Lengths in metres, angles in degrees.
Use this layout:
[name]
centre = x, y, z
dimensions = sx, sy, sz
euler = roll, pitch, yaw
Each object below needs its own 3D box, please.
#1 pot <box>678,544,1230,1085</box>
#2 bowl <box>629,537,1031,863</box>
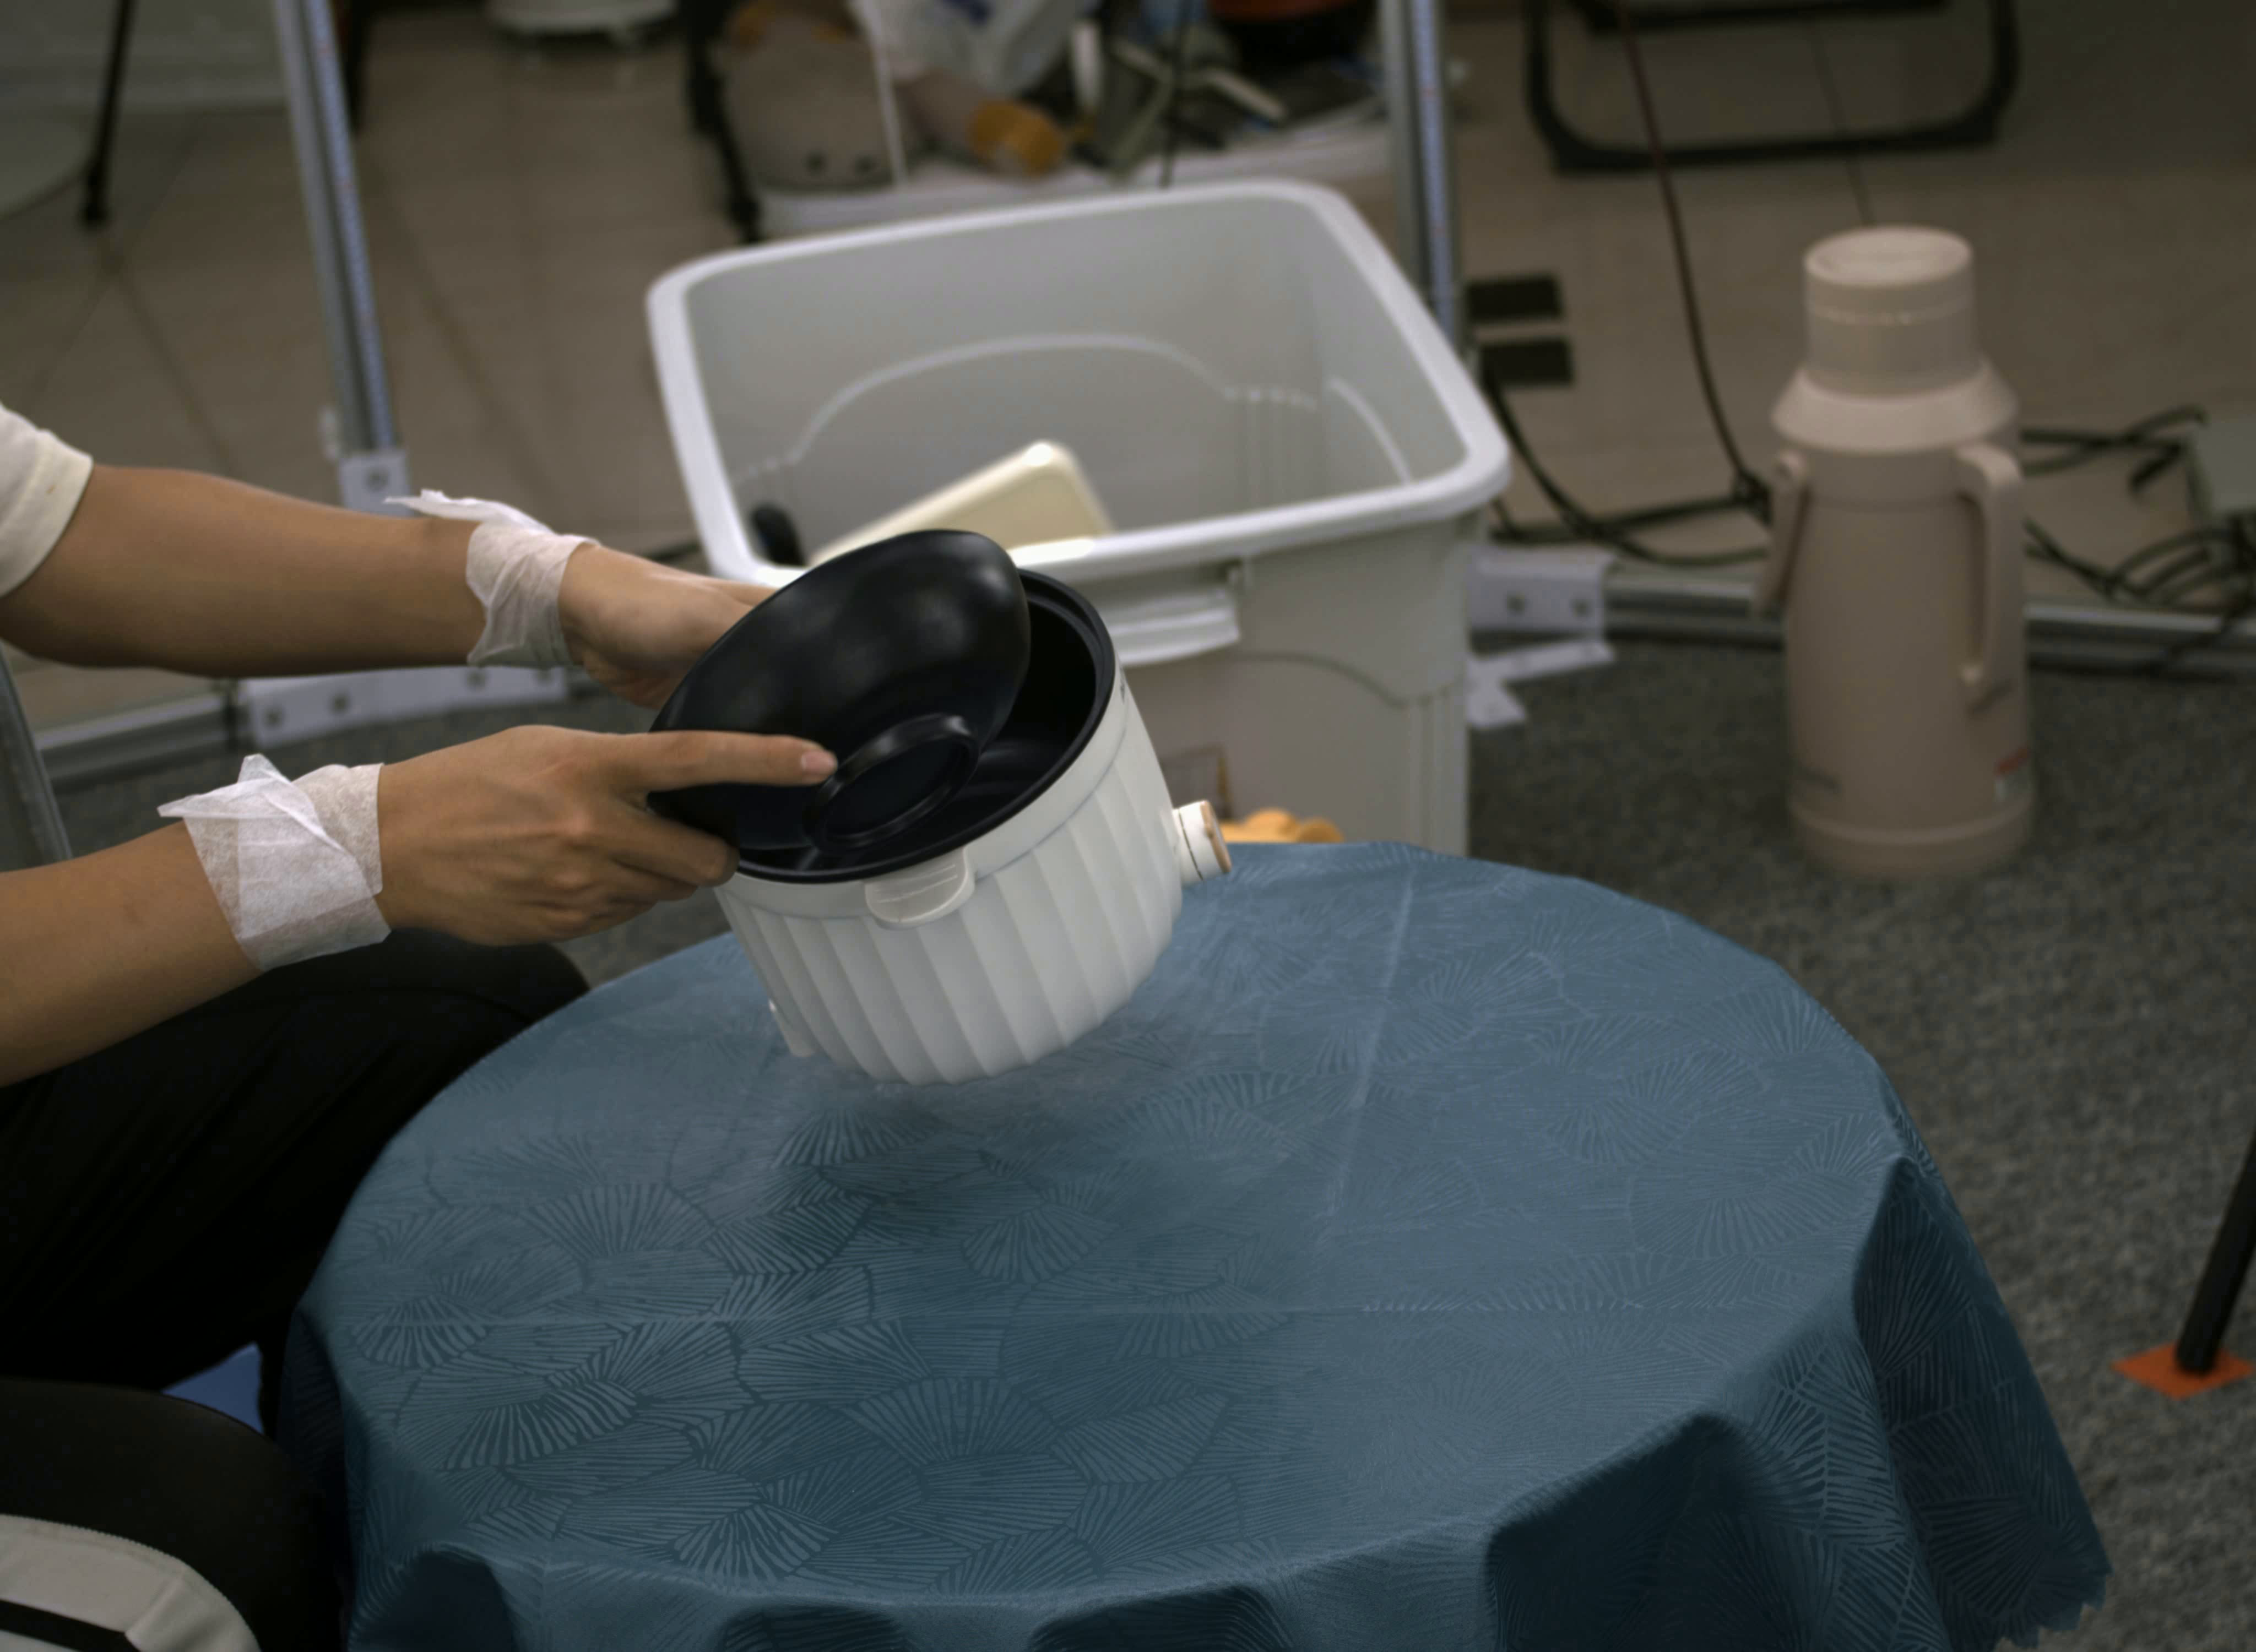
[pot]
centre = -0.067, 0.003, 2.208
dimensions = 0.190, 0.145, 0.236
euler = -21, 39, 7
[bowl]
centre = -0.096, -0.034, 2.020
dimensions = 0.169, 0.139, 0.066
euler = -20, 65, -33
